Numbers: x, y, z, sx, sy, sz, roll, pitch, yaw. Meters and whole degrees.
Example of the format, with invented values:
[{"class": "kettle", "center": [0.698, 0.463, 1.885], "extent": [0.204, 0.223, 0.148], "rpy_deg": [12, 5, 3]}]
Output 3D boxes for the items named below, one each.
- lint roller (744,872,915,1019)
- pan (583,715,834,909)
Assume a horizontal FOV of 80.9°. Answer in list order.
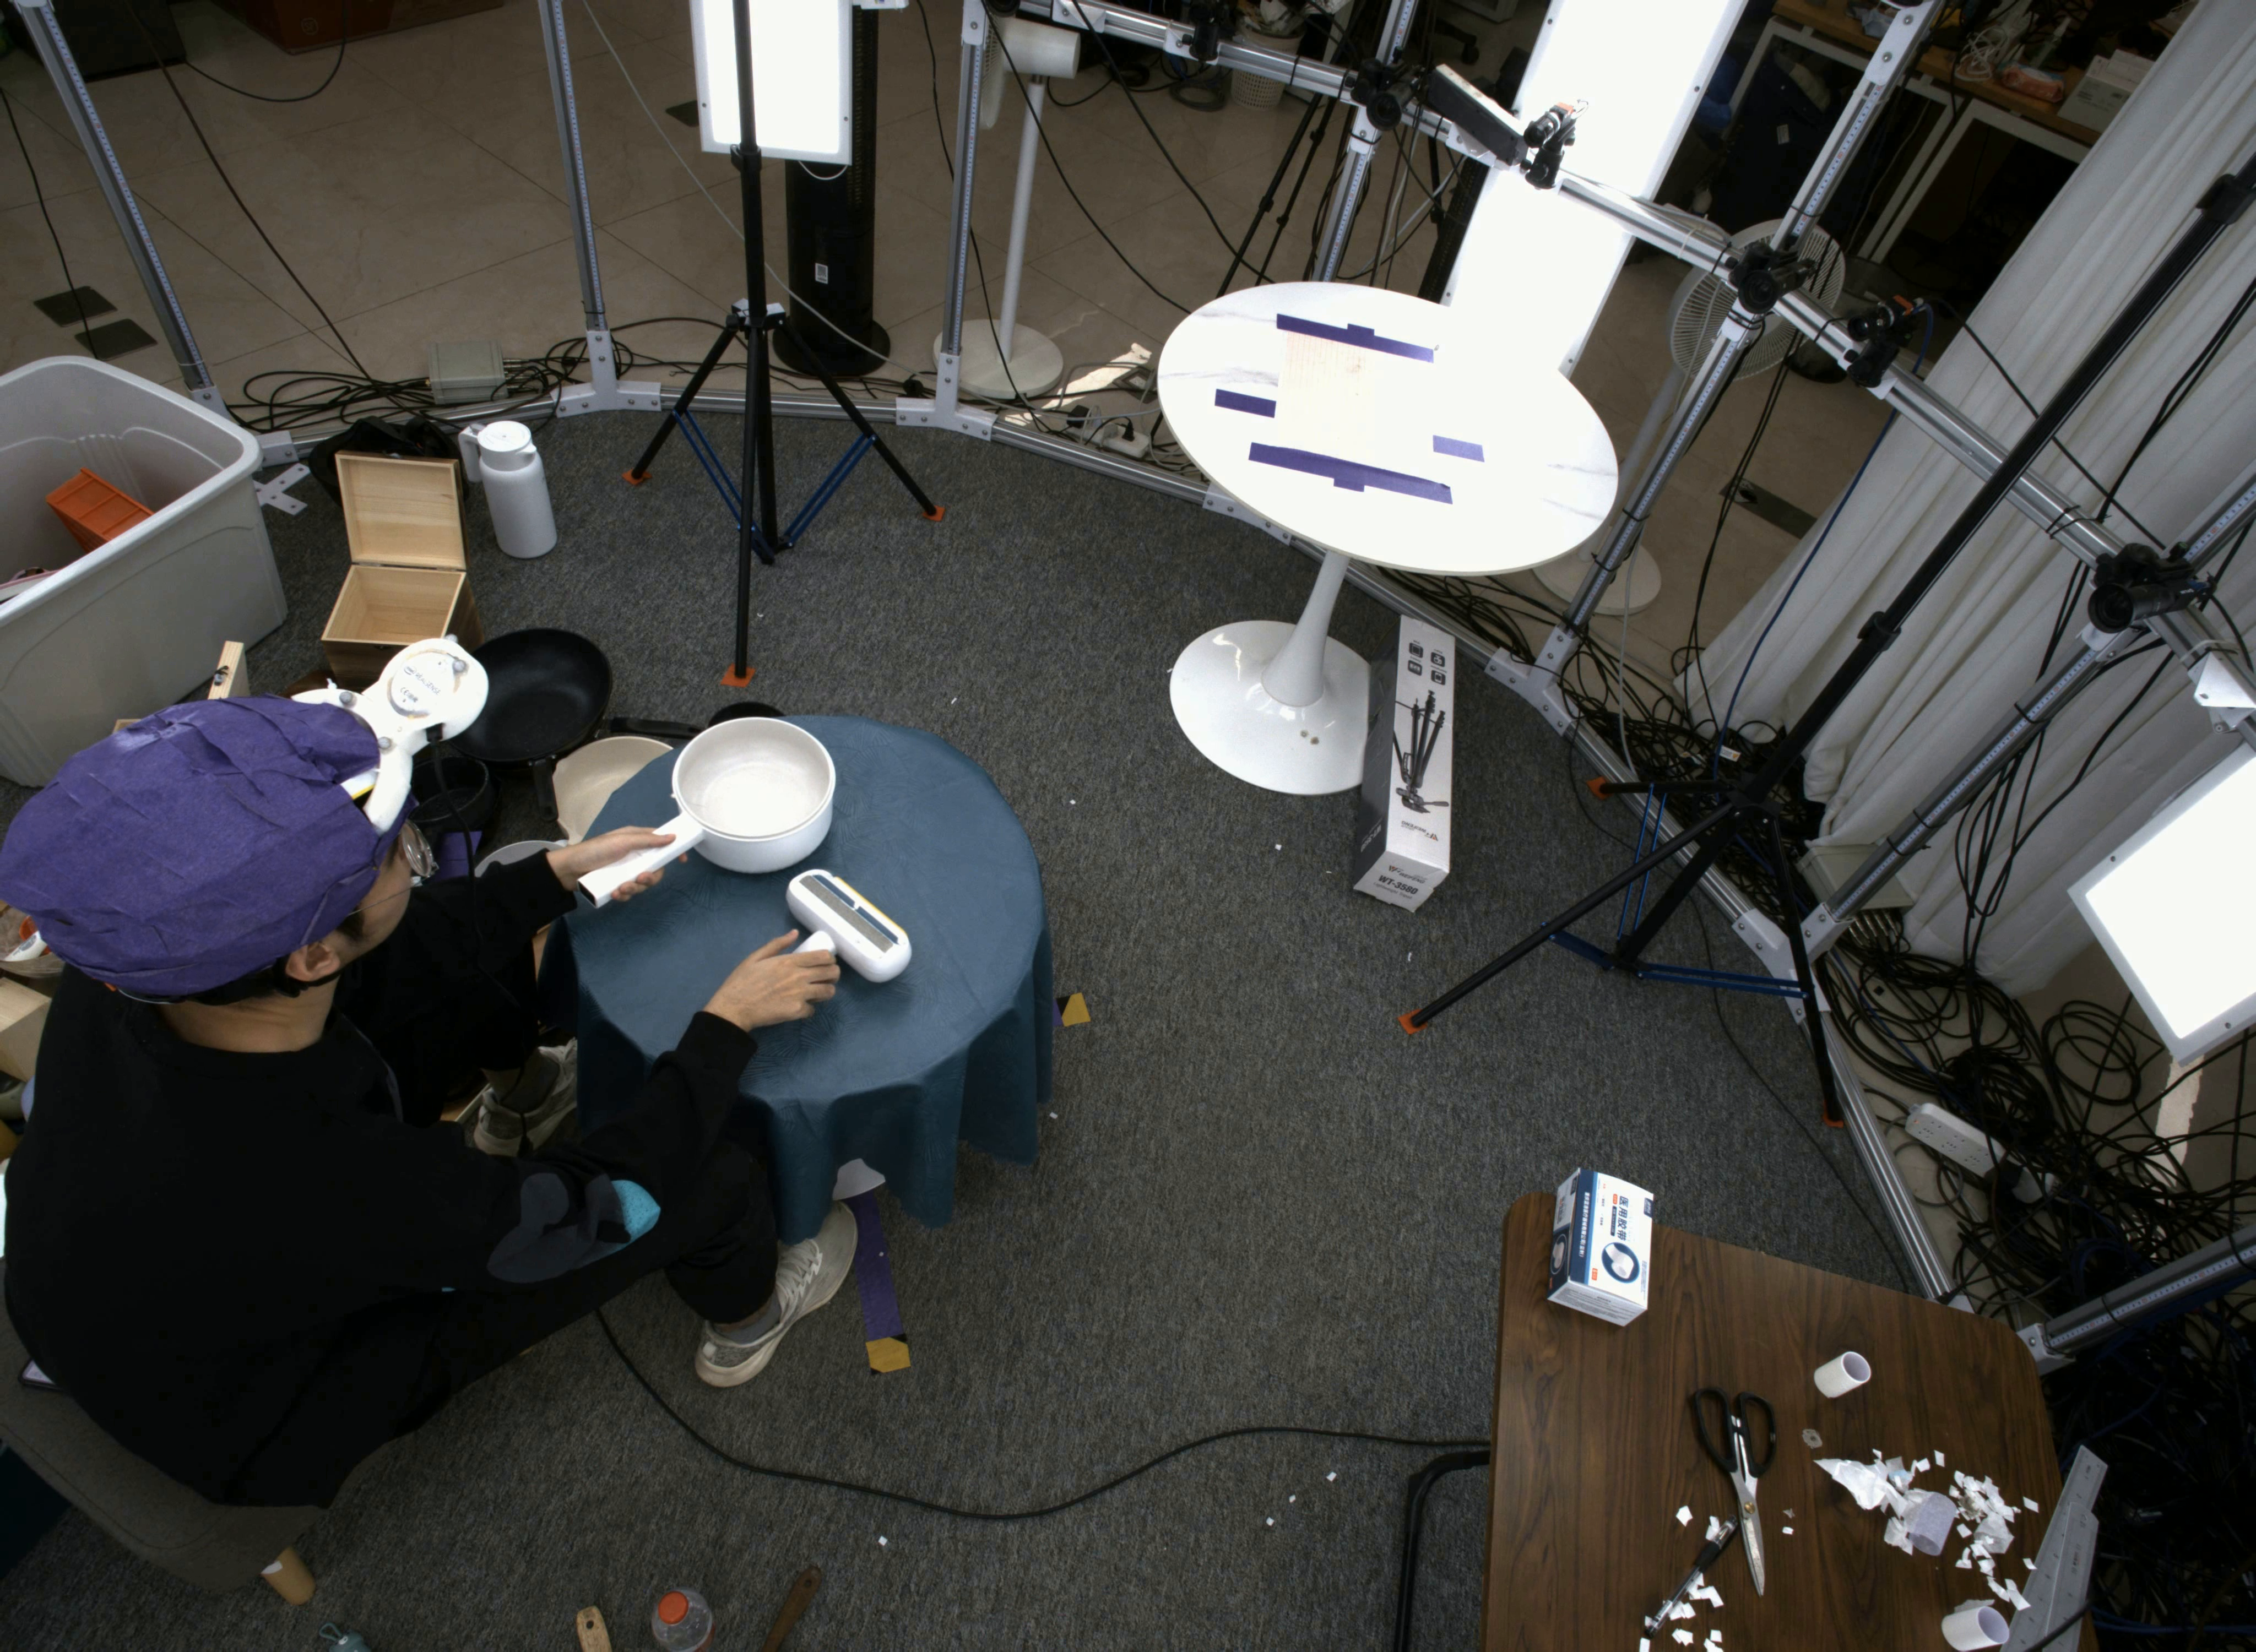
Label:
[{"class": "lint roller", "center": [-0.383, 0.158, 1.580], "extent": [0.193, 0.076, 0.187], "rpy_deg": [-35, 63, -31]}, {"class": "pan", "center": [-0.530, 0.005, 1.632], "extent": [0.197, 0.104, 0.355], "rpy_deg": [39, 55, 15]}]
